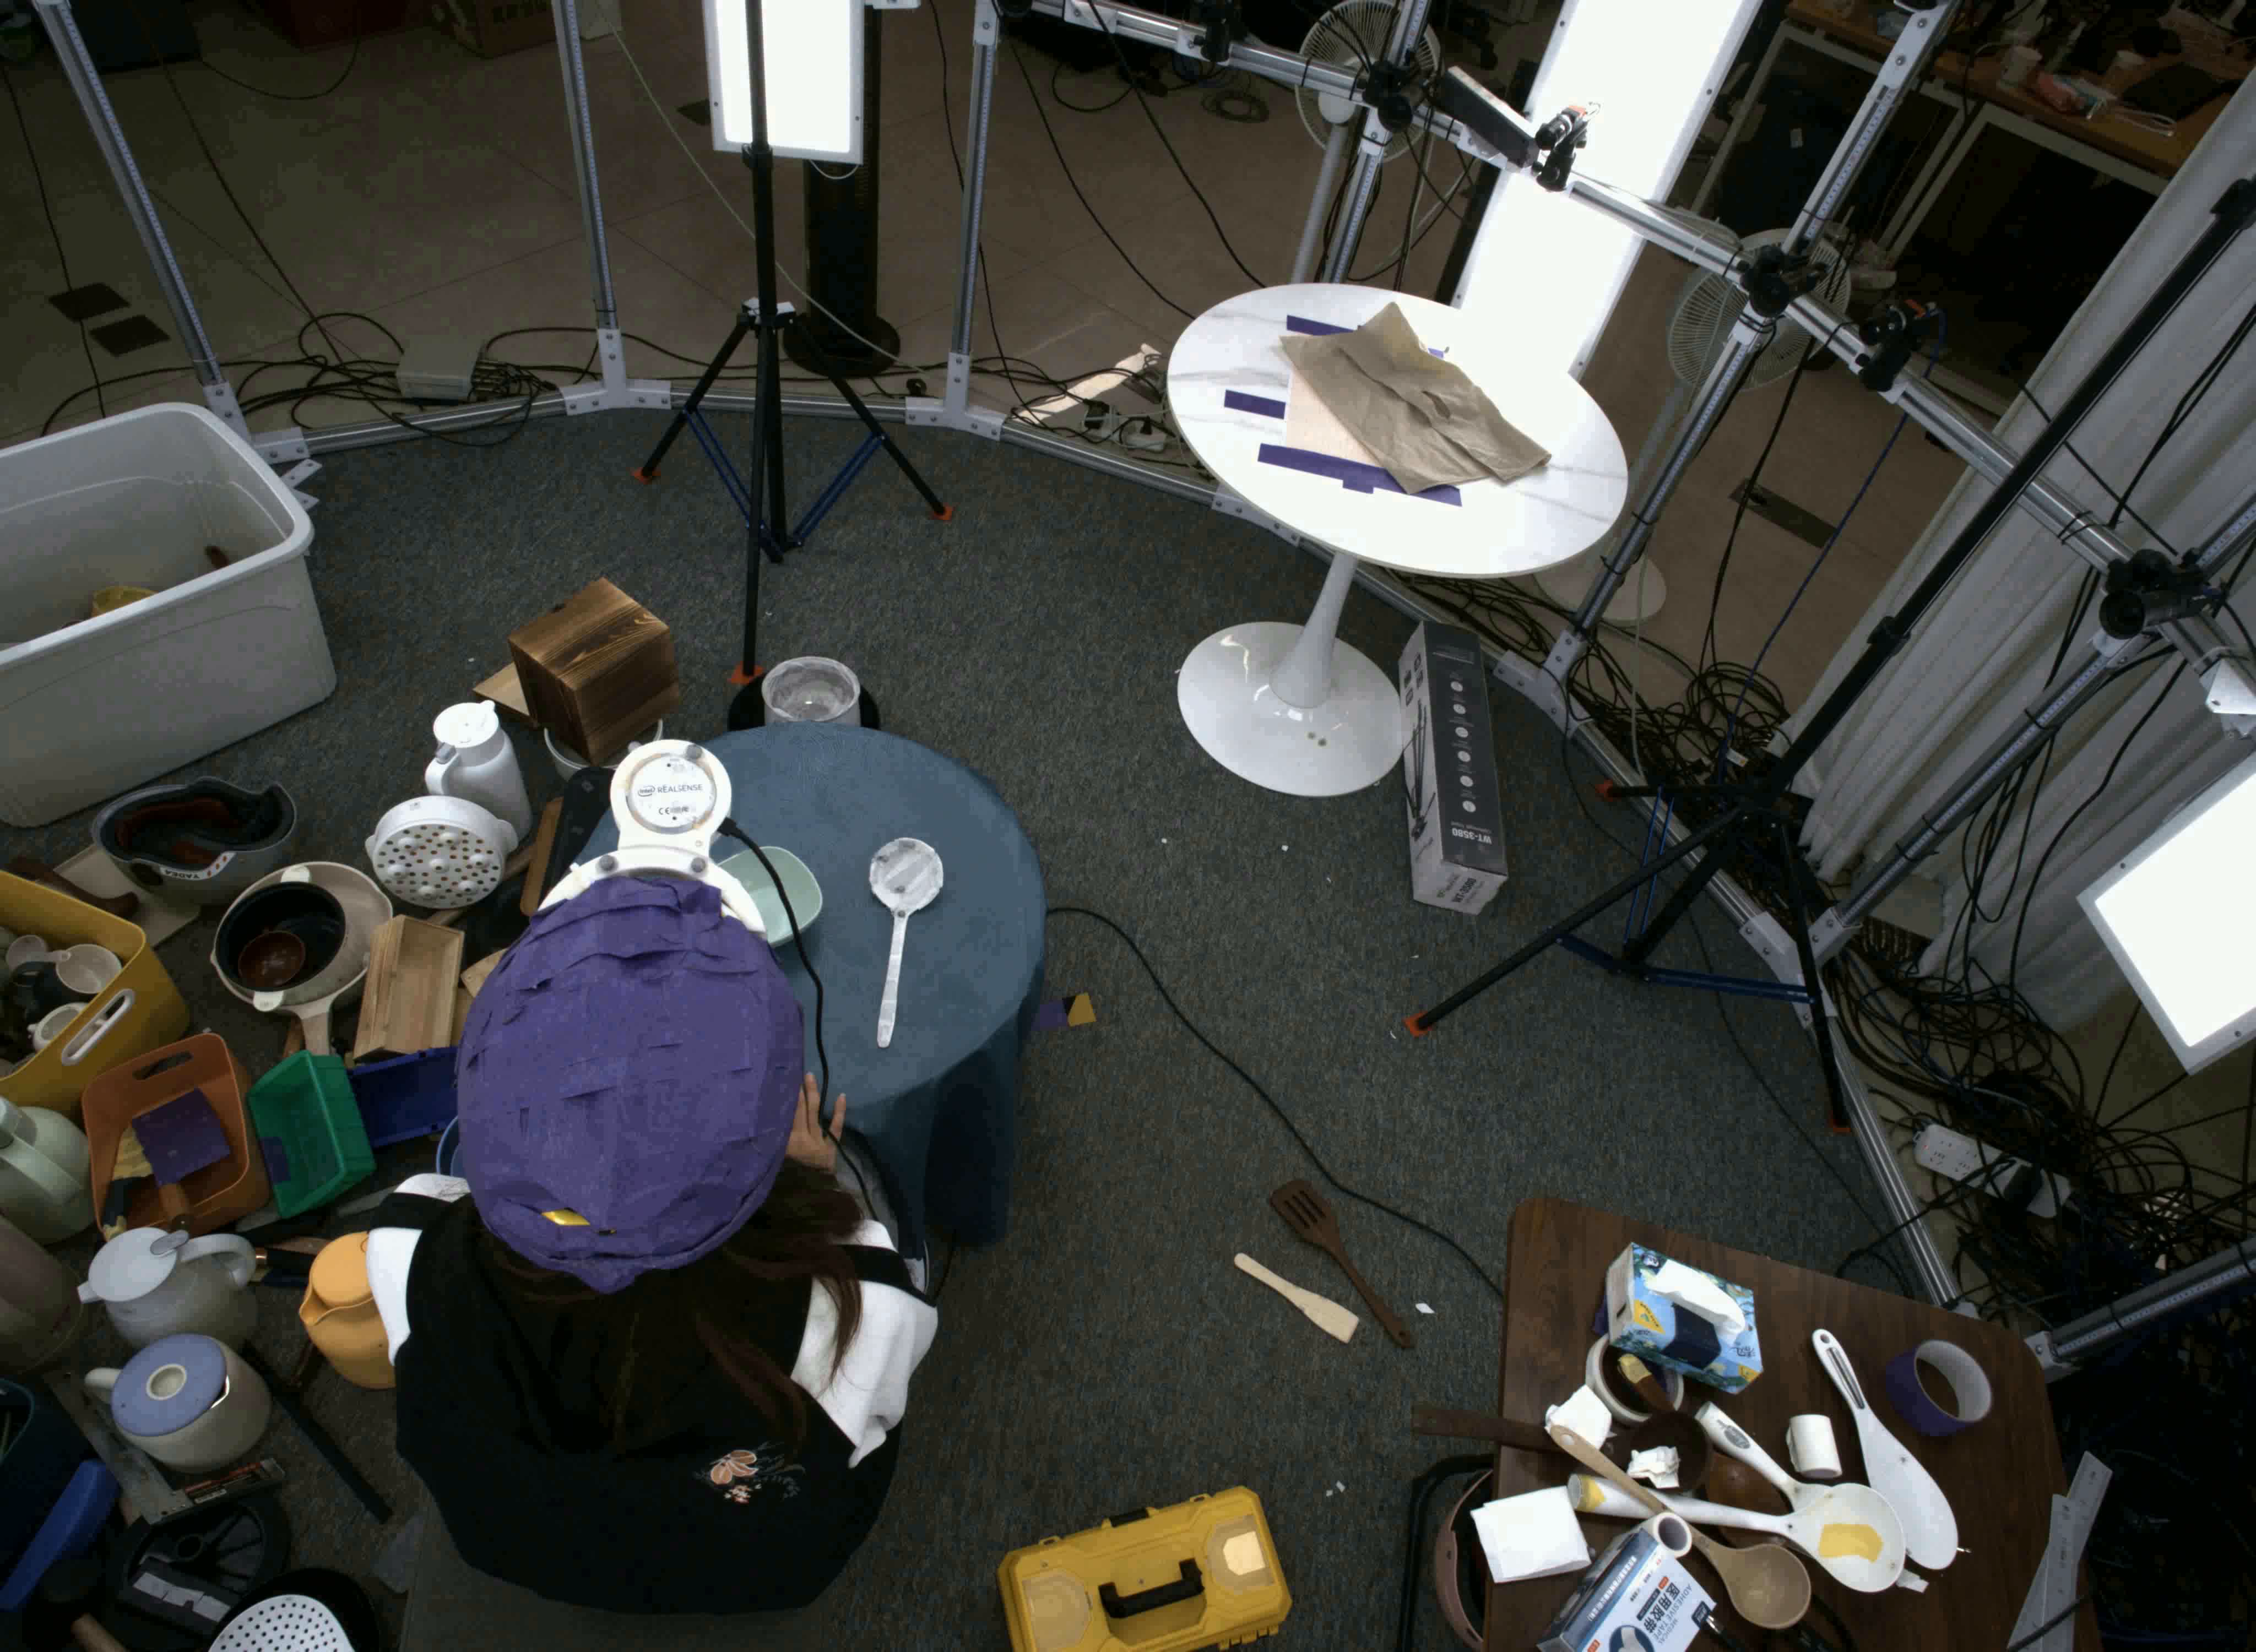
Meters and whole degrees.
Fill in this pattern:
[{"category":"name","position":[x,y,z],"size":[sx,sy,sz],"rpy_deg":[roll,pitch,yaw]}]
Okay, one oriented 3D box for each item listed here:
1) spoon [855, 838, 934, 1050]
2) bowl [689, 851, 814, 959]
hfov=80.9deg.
[{"category":"spoon","position":[-0.305,0.139,1.609],"size":[0.100,0.061,0.272],"rpy_deg":[7,52,-3]},{"category":"bowl","position":[-0.462,0.105,1.595],"size":[0.151,0.060,0.148],"rpy_deg":[8,51,-8]}]
